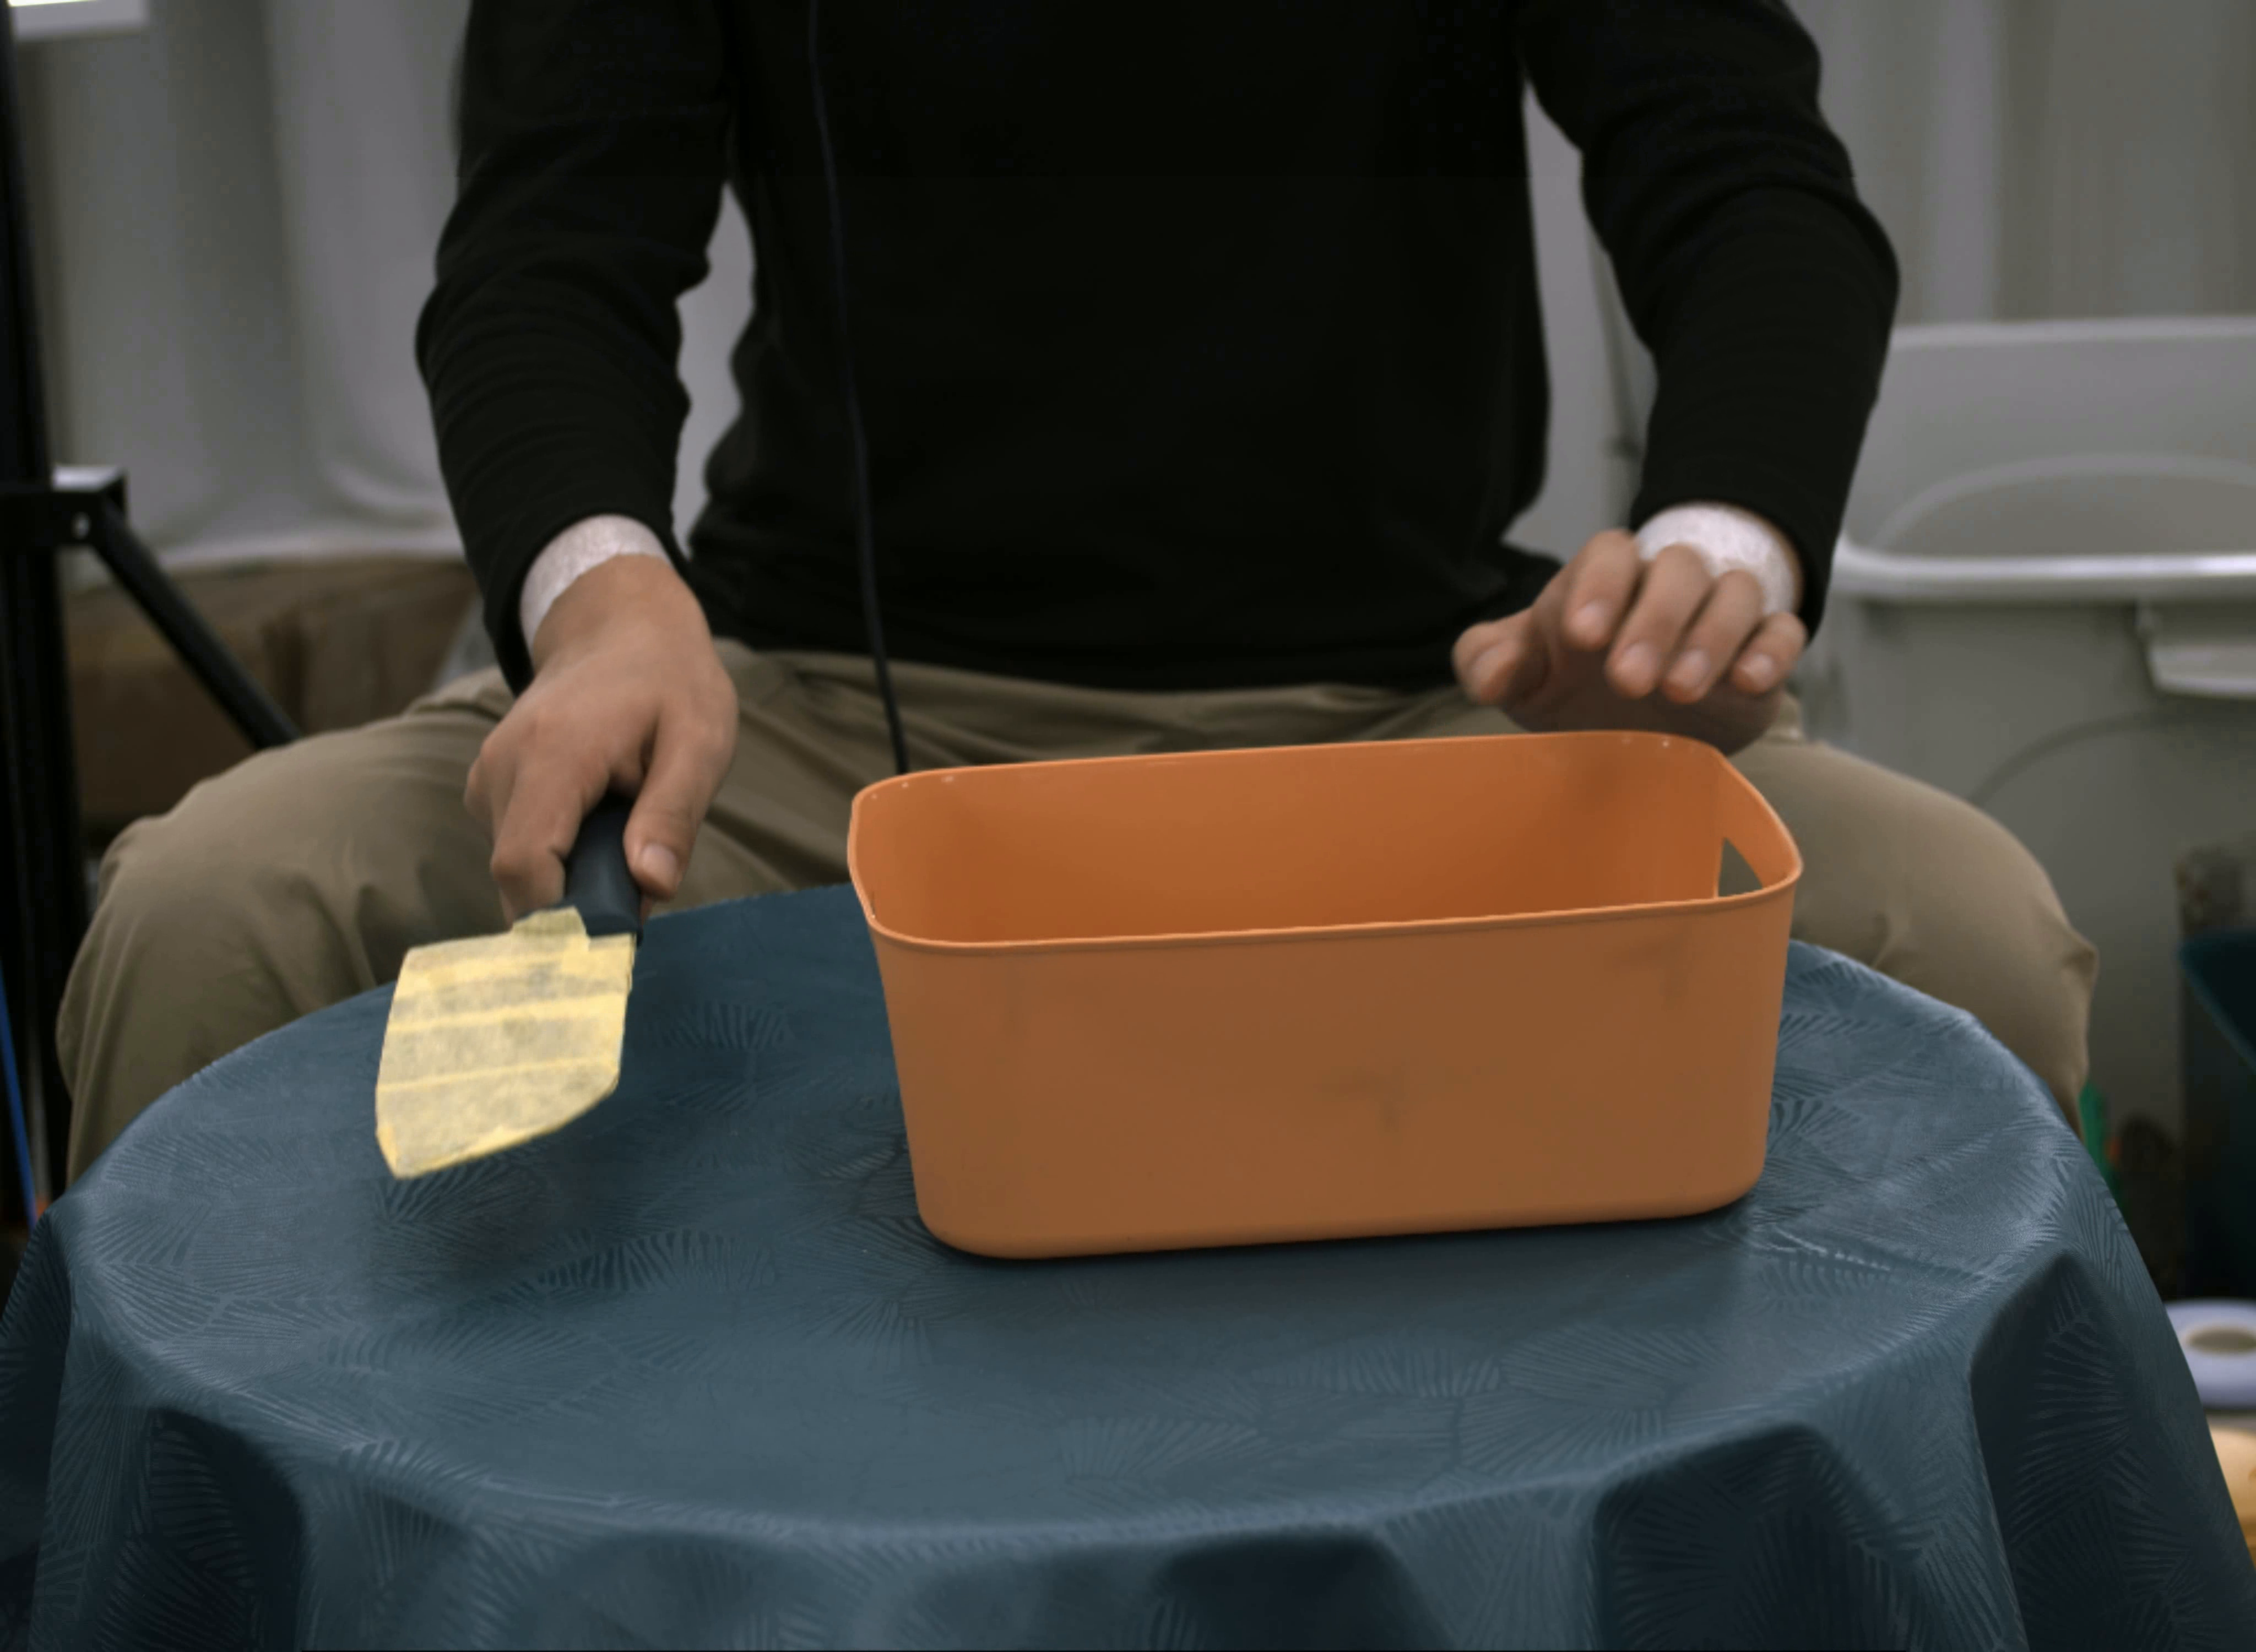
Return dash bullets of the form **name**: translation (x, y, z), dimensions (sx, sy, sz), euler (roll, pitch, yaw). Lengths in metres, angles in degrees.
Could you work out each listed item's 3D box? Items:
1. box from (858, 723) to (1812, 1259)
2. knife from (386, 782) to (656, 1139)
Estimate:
- **box**: translation (0.057, 0.048, 1.571), dimensions (0.271, 0.102, 0.201), euler (-3, 16, -3)
- **knife**: translation (-0.181, 0.041, 1.621), dimensions (0.081, 0.027, 0.290), euler (-3, 19, 2)
